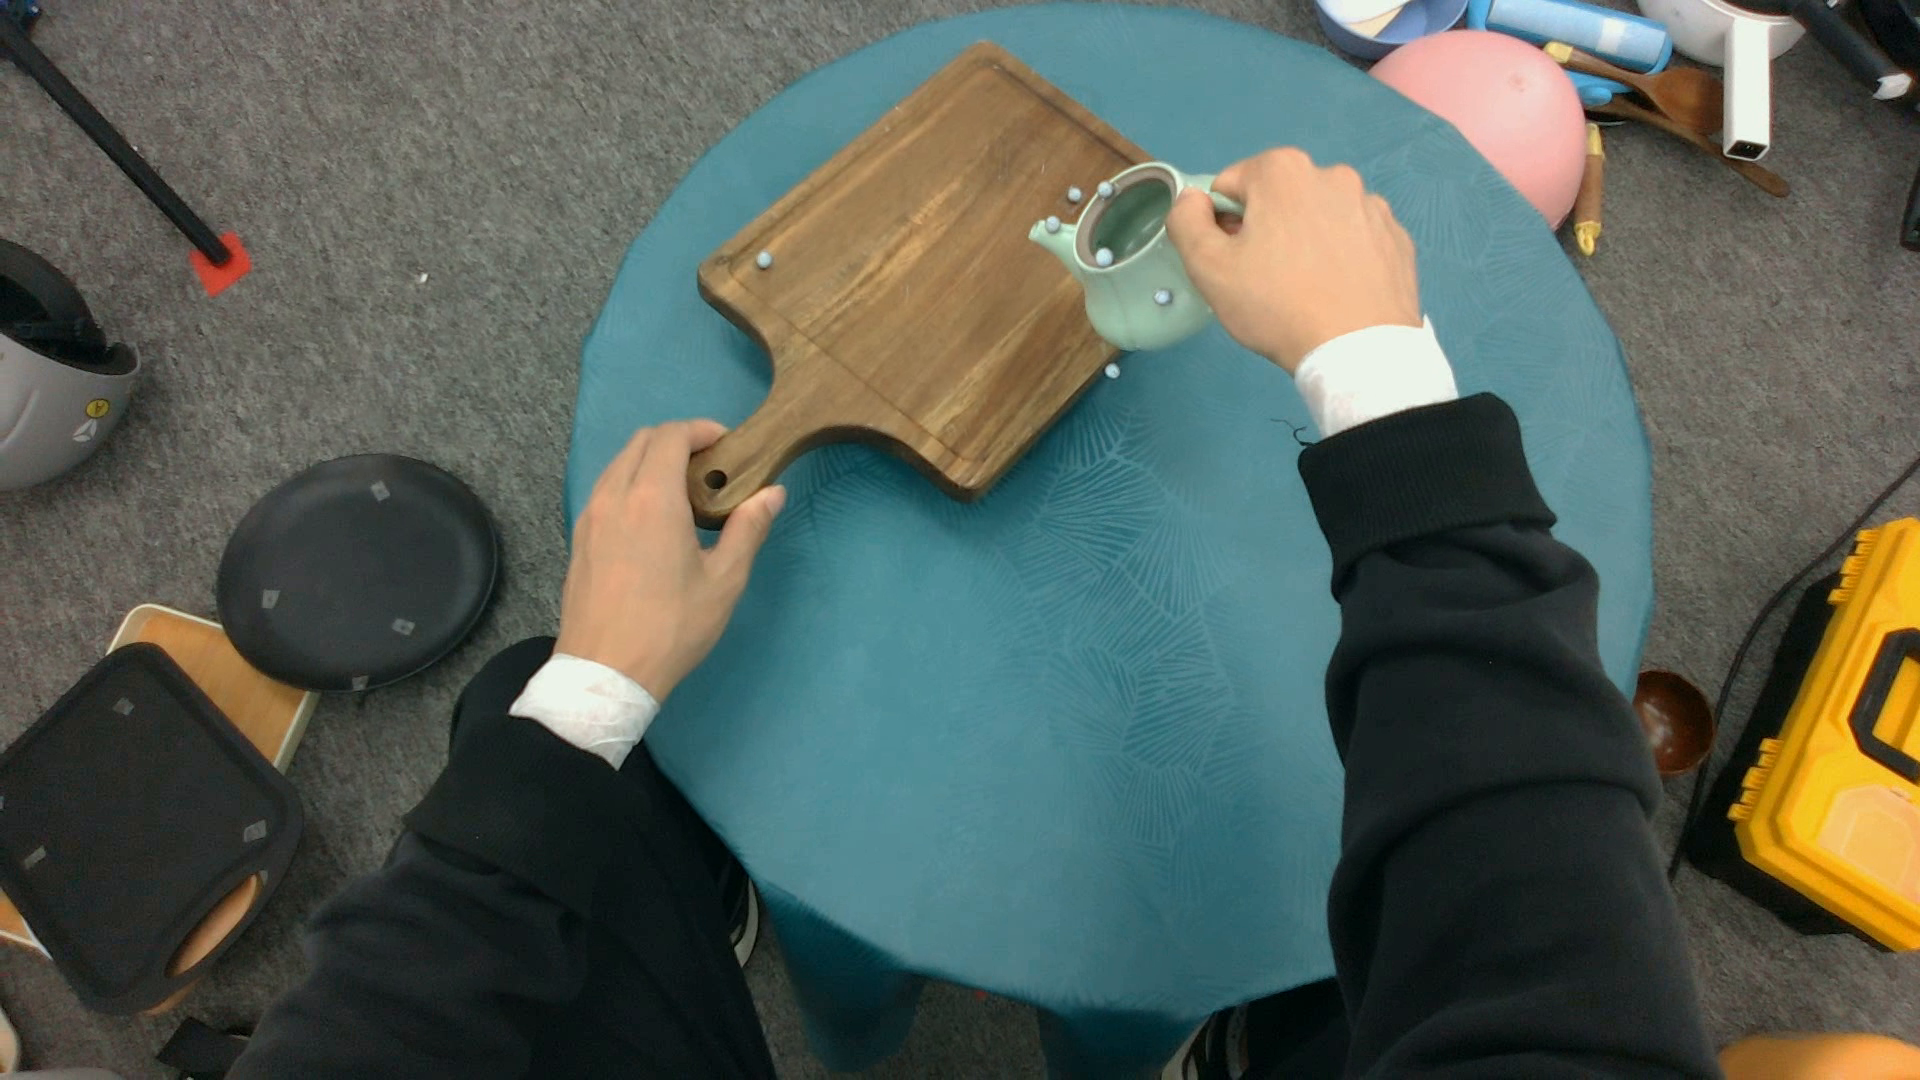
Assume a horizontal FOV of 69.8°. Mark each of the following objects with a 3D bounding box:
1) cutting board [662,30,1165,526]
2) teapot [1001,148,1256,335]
[{"bbox_3d":[-0.033,-0.134,0.745,0.201,0.023,0.353,37,63,10],"label":"cutting board"},{"bbox_3d":[0.087,-0.149,0.667,0.136,0.061,0.096,2,65,46],"label":"teapot"}]
